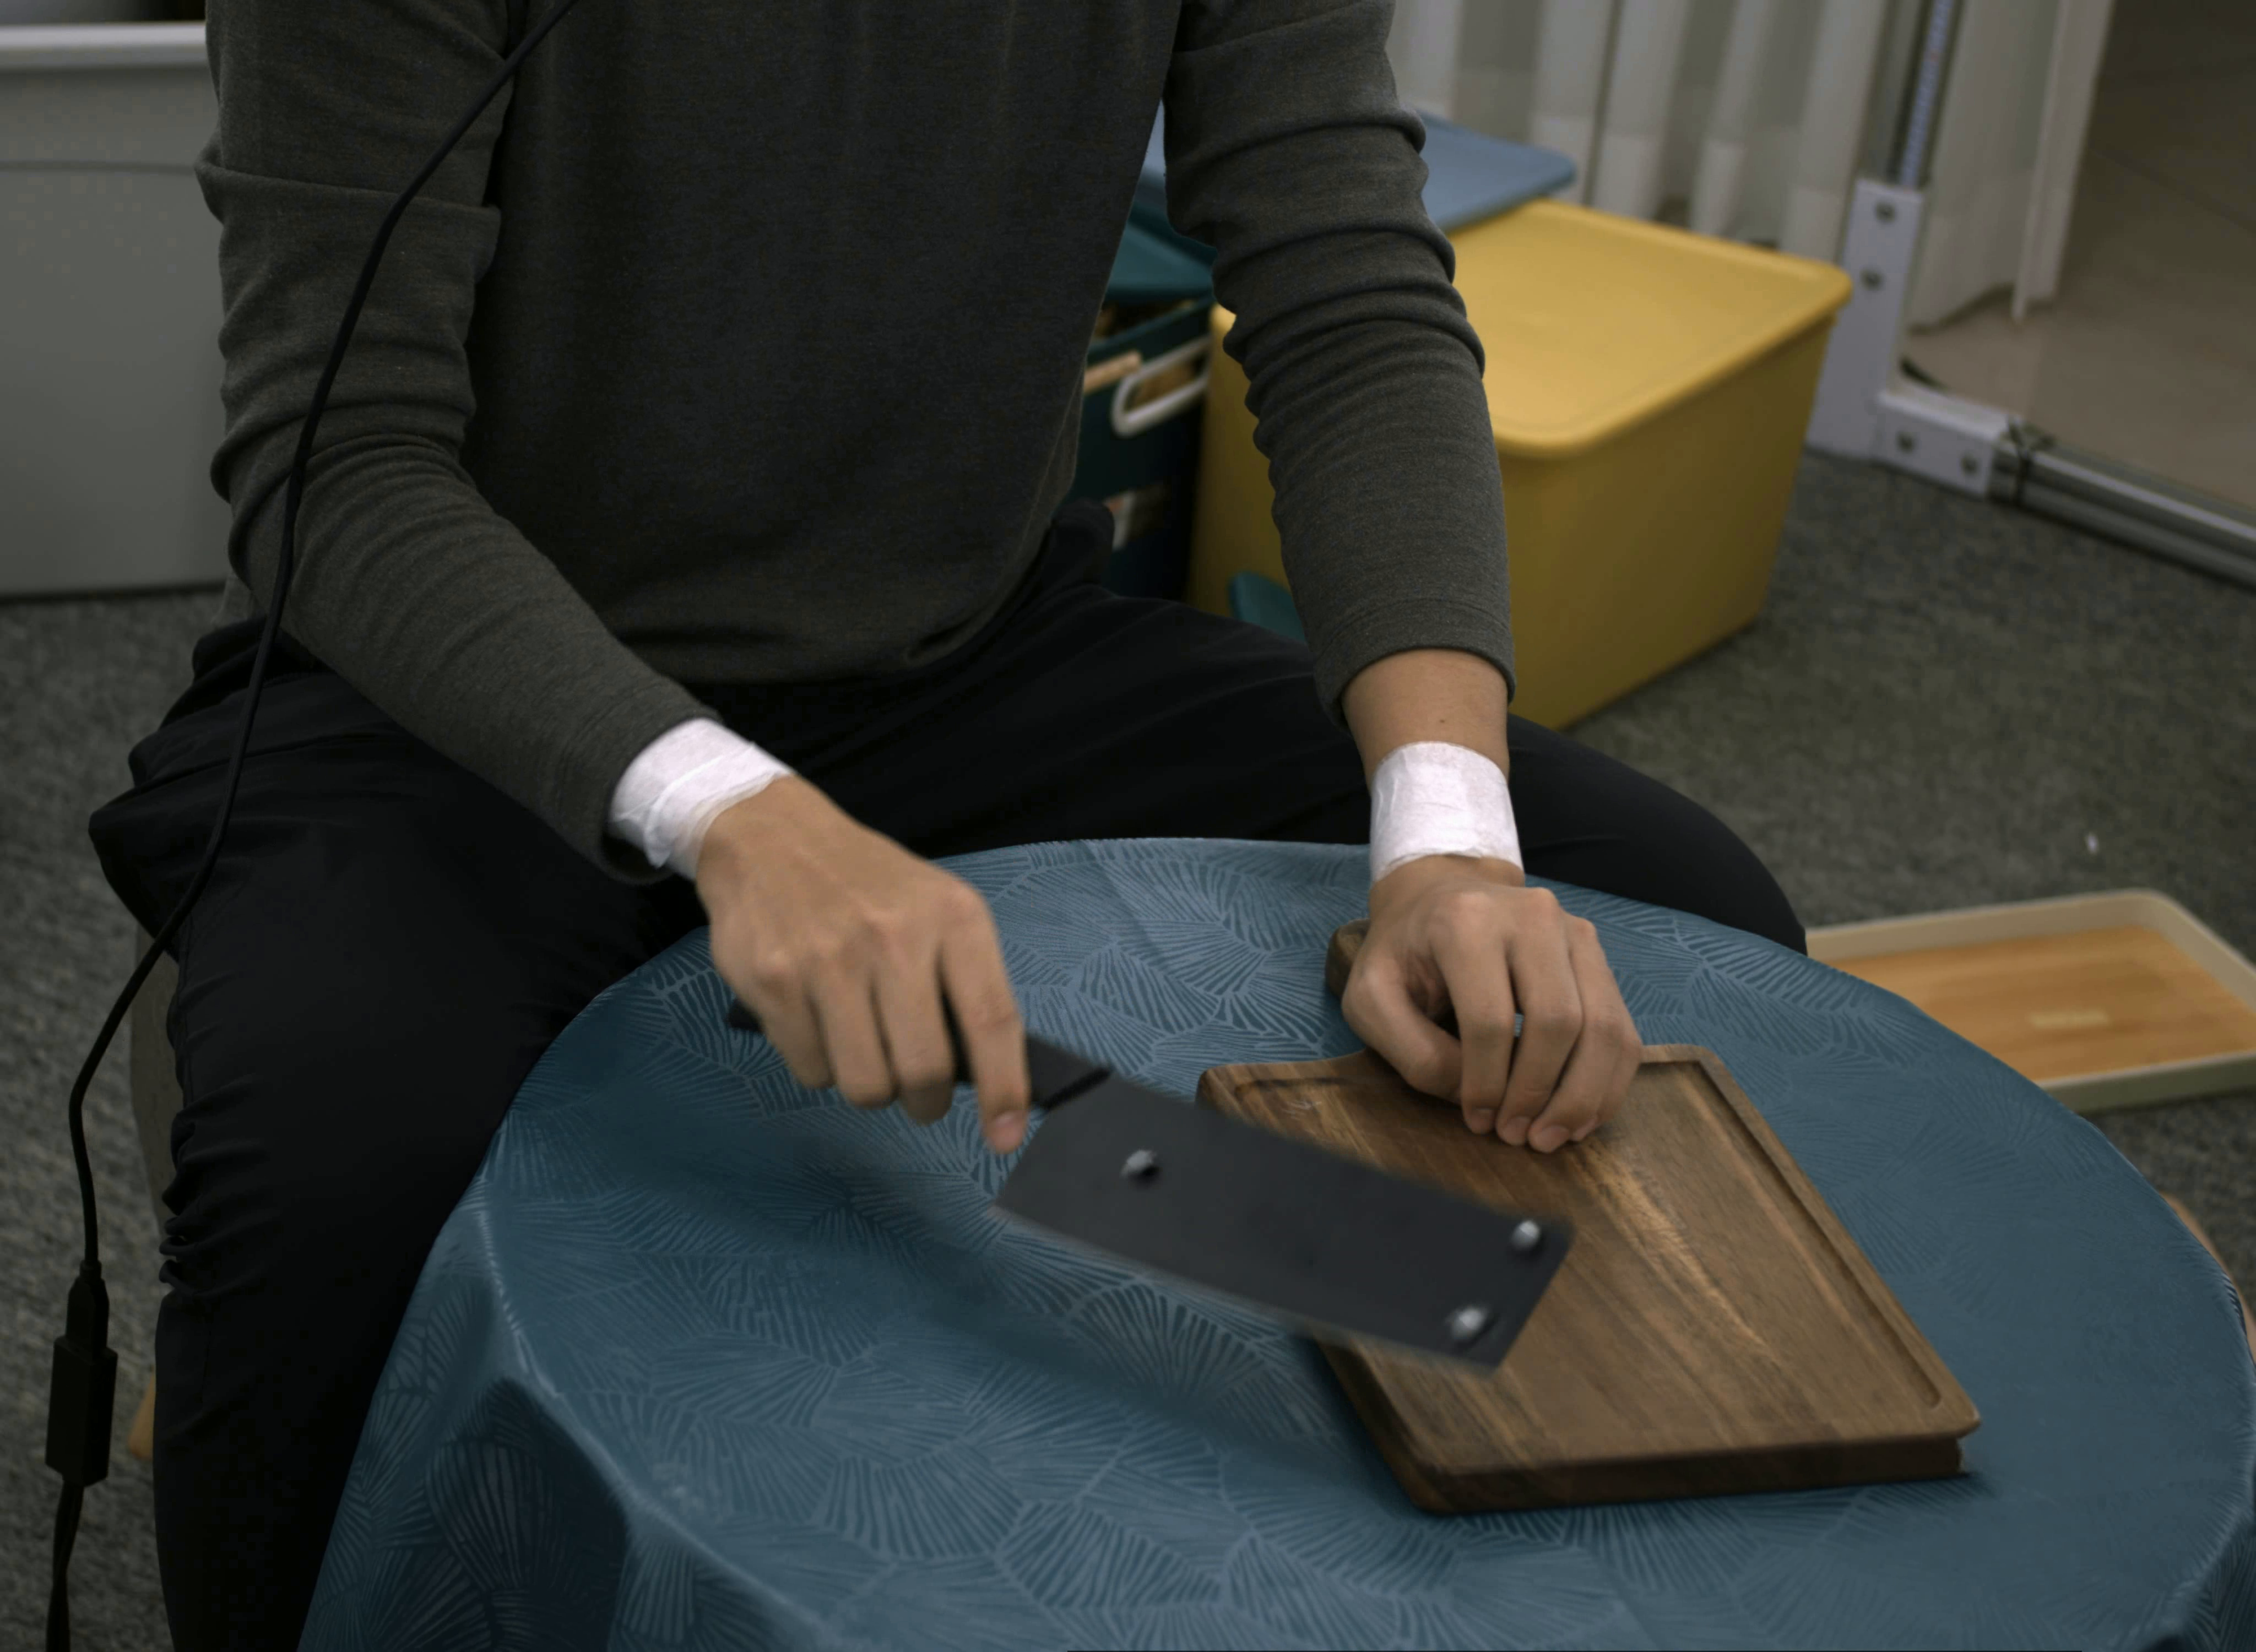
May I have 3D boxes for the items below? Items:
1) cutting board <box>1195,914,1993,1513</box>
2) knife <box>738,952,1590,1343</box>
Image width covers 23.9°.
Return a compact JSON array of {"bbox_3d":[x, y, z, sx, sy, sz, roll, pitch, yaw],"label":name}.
[{"bbox_3d":[0.135,0.122,1.815,0.200,0.023,0.355,-2,28,-17],"label":"cutting board"},{"bbox_3d":[0.003,0.100,1.714,0.304,0.020,0.081,20,56,27],"label":"knife"}]
